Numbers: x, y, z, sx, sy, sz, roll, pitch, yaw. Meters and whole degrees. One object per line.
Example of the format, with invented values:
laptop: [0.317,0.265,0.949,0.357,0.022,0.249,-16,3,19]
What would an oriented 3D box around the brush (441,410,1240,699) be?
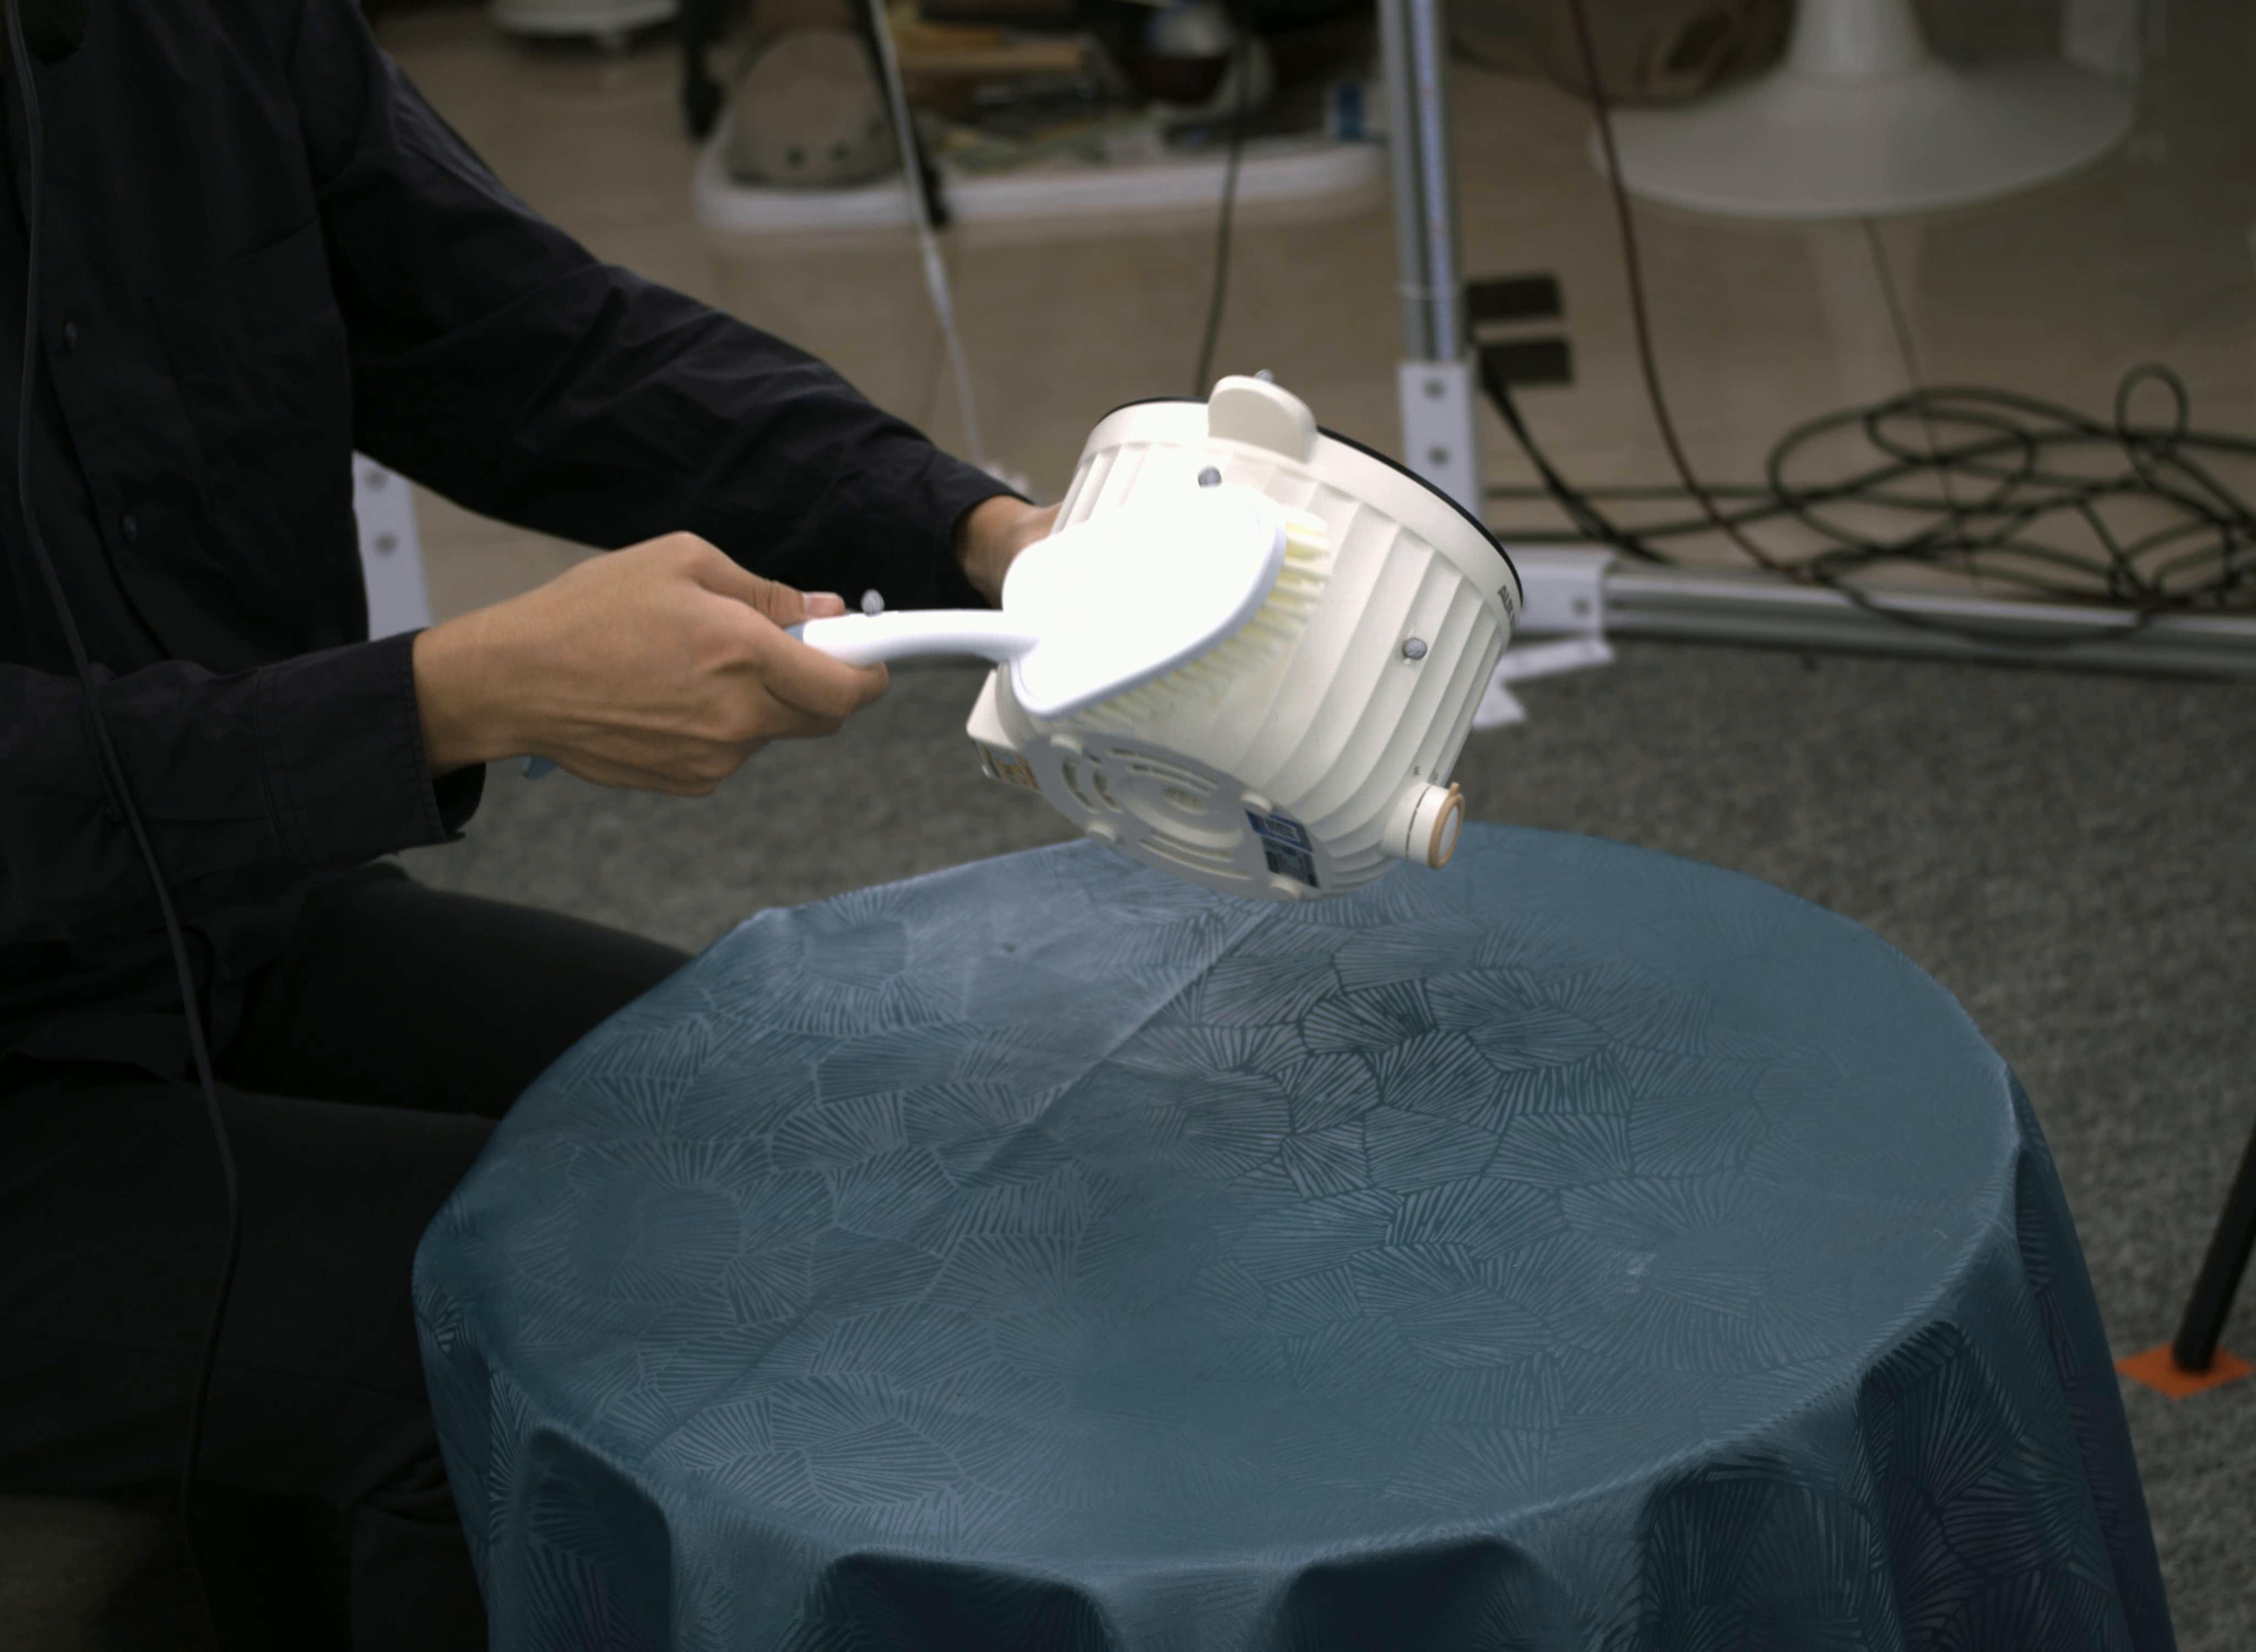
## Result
brush: [-0.103,-0.092,2.099,0.326,0.086,0.081,-15,32,23]

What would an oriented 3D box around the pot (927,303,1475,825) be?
pot: [0.032,-0.088,2.202,0.189,0.243,0.141,16,70,15]
